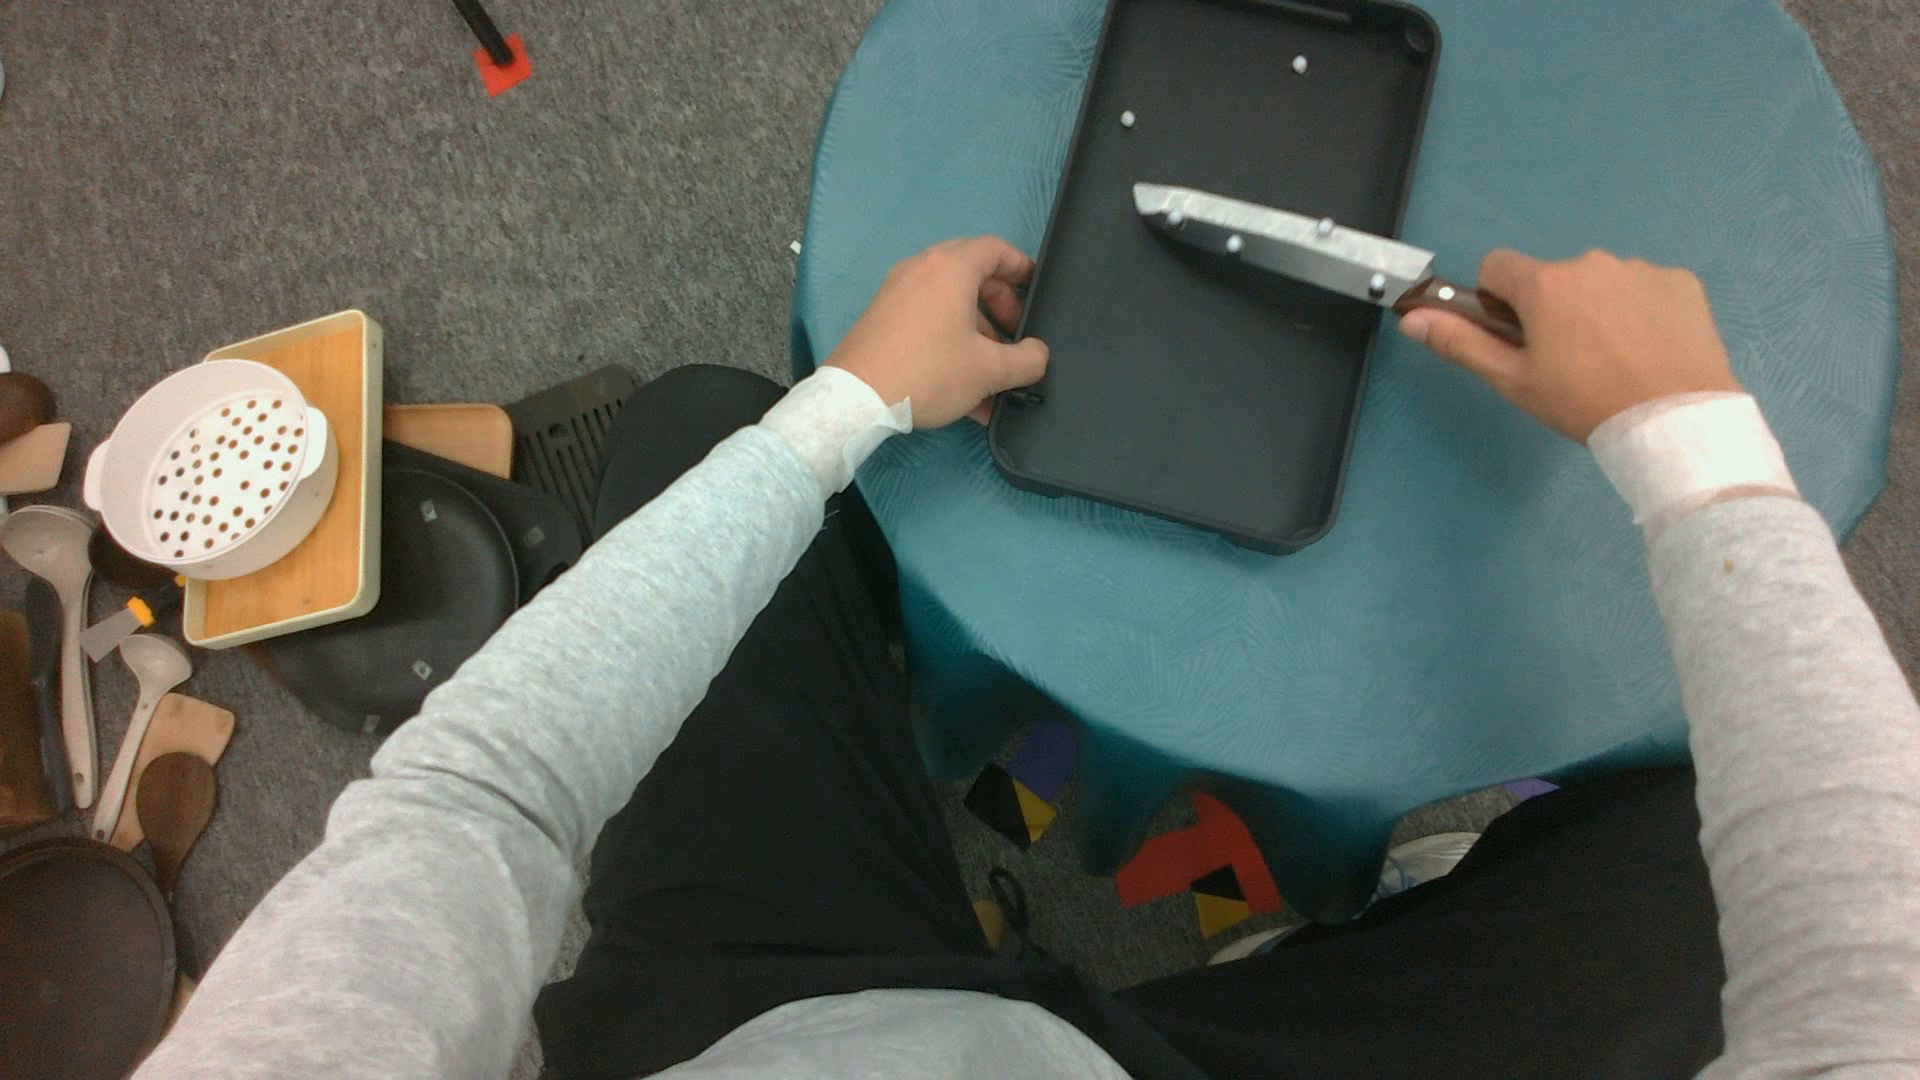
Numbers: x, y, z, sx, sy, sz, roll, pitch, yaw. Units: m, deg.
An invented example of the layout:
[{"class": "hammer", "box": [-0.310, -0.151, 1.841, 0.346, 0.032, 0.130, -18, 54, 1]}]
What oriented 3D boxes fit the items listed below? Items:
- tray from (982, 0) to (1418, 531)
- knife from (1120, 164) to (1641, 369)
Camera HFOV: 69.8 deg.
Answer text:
[{"class": "tray", "box": [0.132, -0.172, 0.748, 0.184, 0.037, 0.318, 13, 77, 4]}, {"class": "knife", "box": [0.205, -0.148, 0.708, 0.289, 0.020, 0.050, 27, 61, 25]}]
